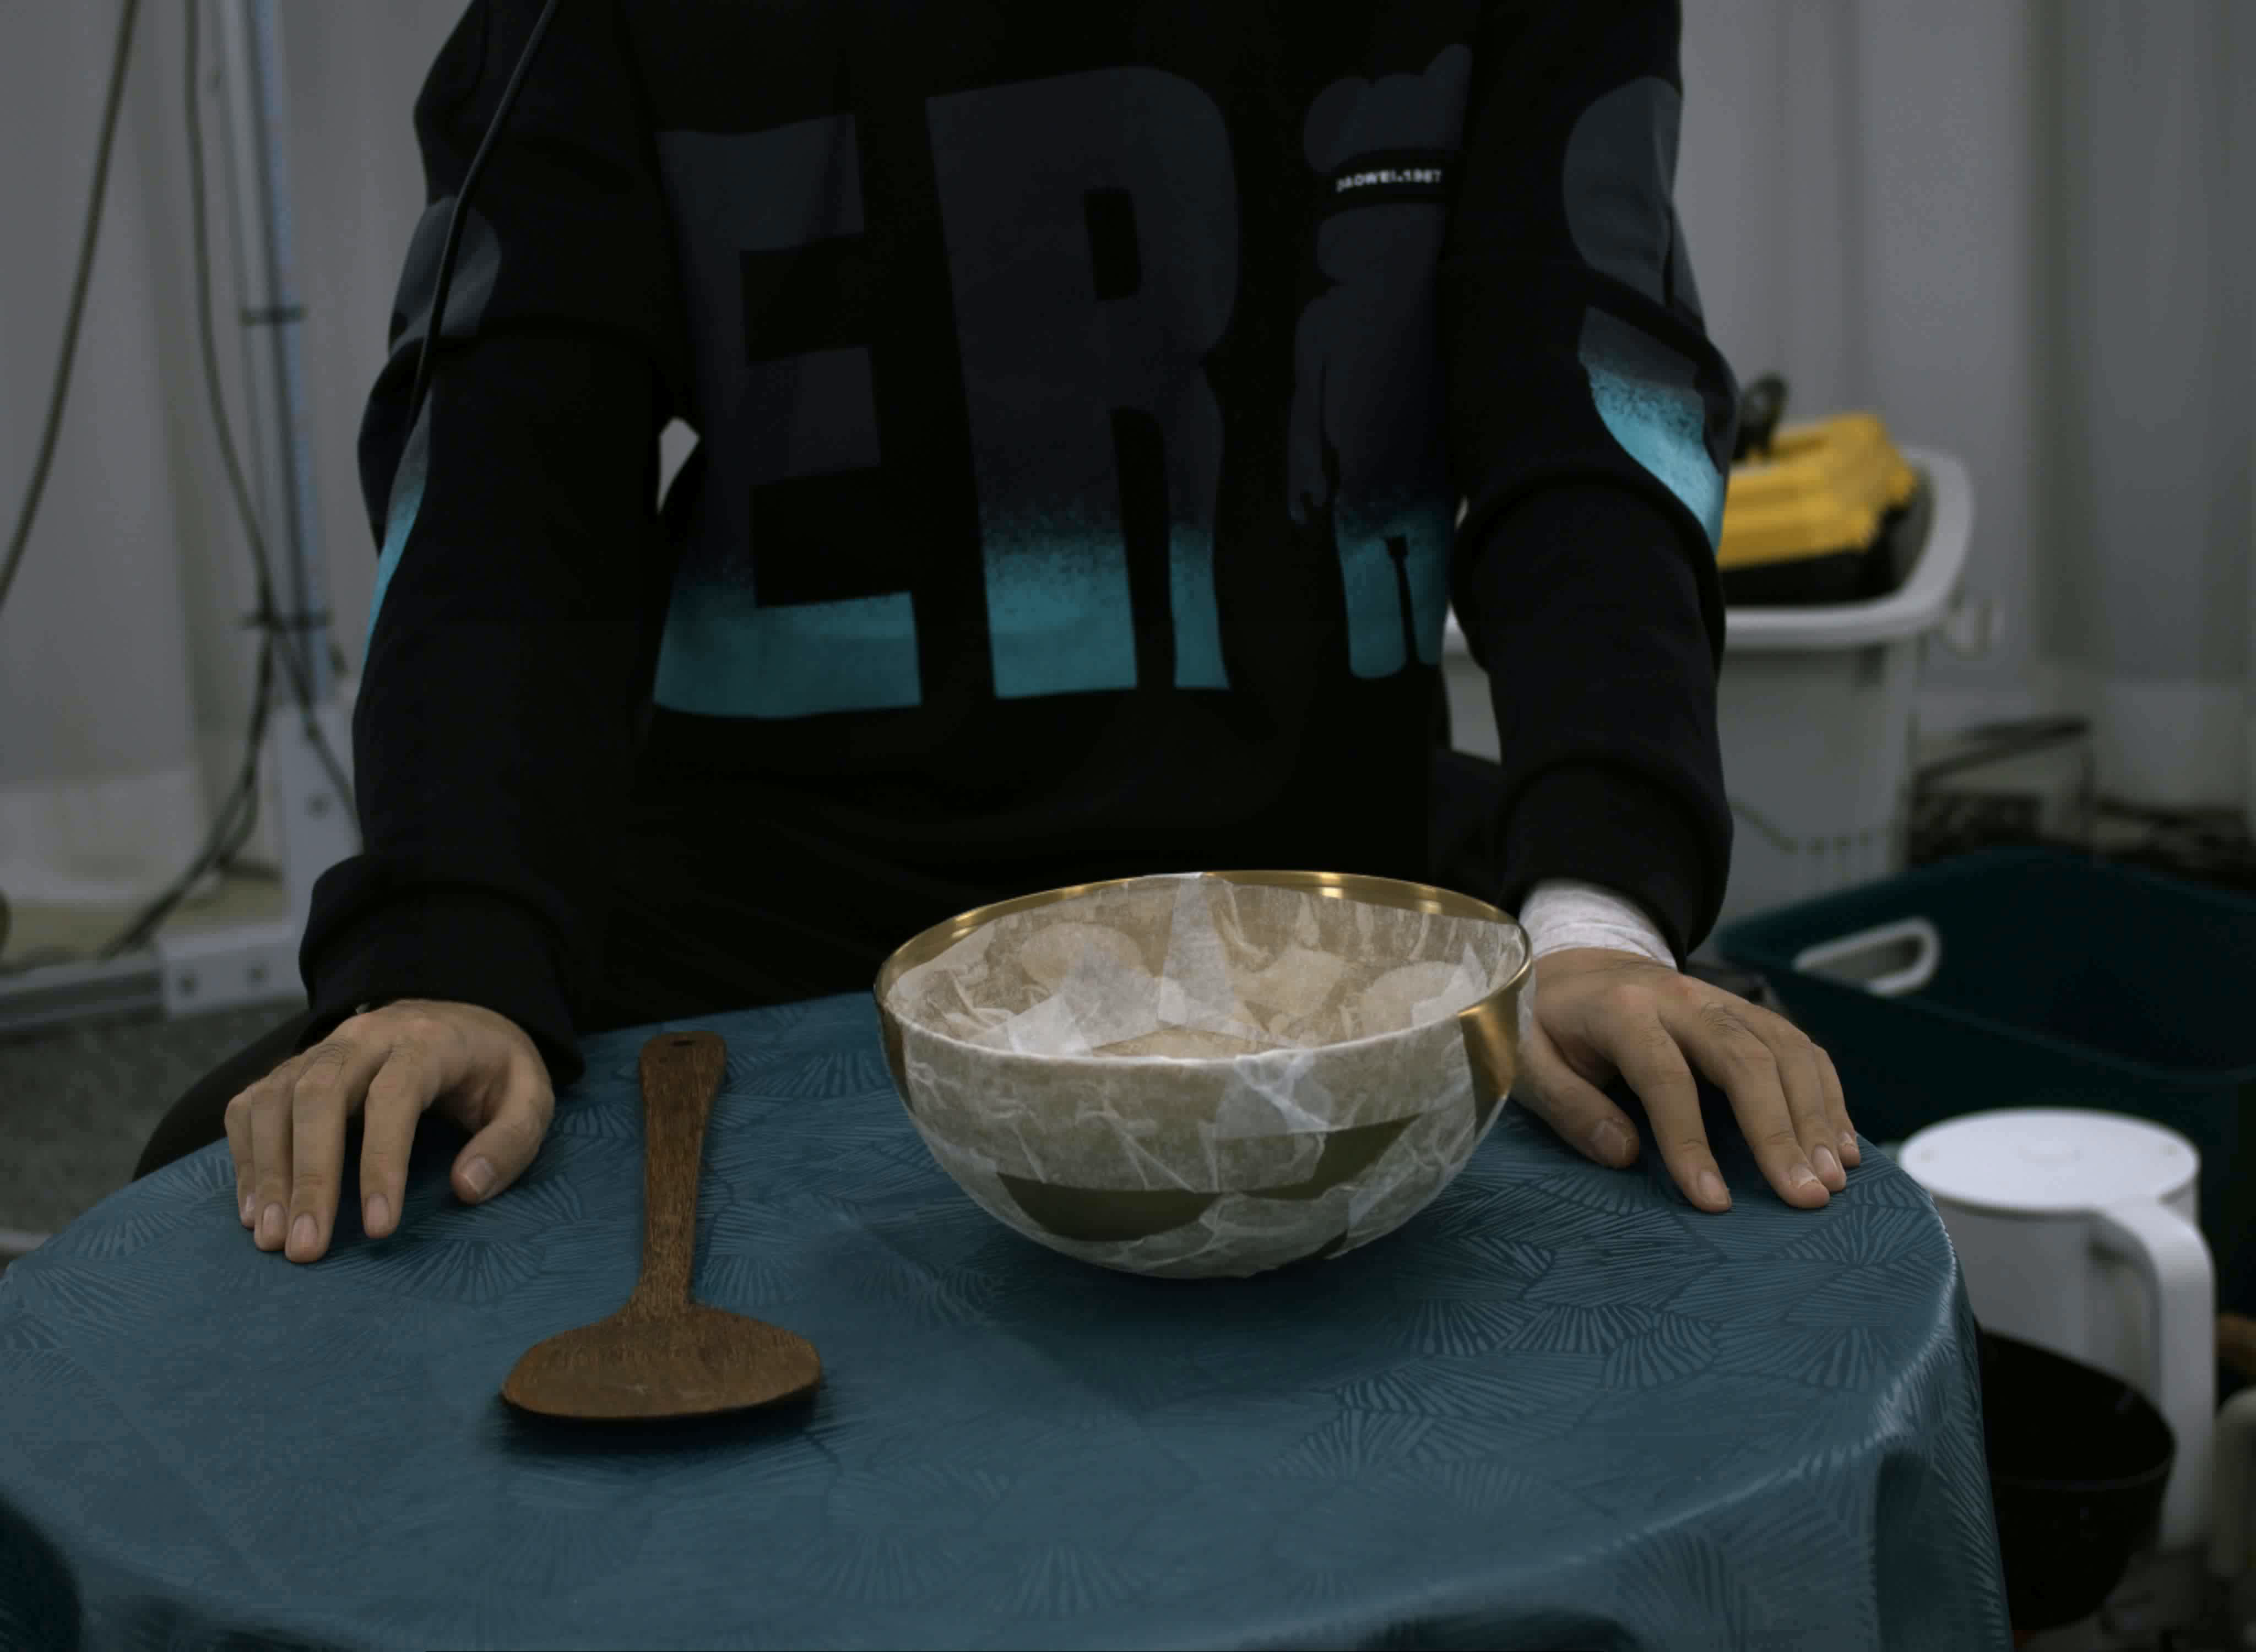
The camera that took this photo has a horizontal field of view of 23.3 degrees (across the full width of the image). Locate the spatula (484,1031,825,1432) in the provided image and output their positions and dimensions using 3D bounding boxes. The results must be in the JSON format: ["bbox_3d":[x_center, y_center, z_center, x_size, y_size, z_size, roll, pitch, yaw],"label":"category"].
[{"bbox_3d":[-0.143,0.119,1.697,0.096,0.016,0.388,-3,15,-3],"label":"spatula"}]

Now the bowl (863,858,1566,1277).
[{"bbox_3d":[0.028,0.081,1.653,0.214,0.094,0.216,-4,14,1],"label":"bowl"}]
